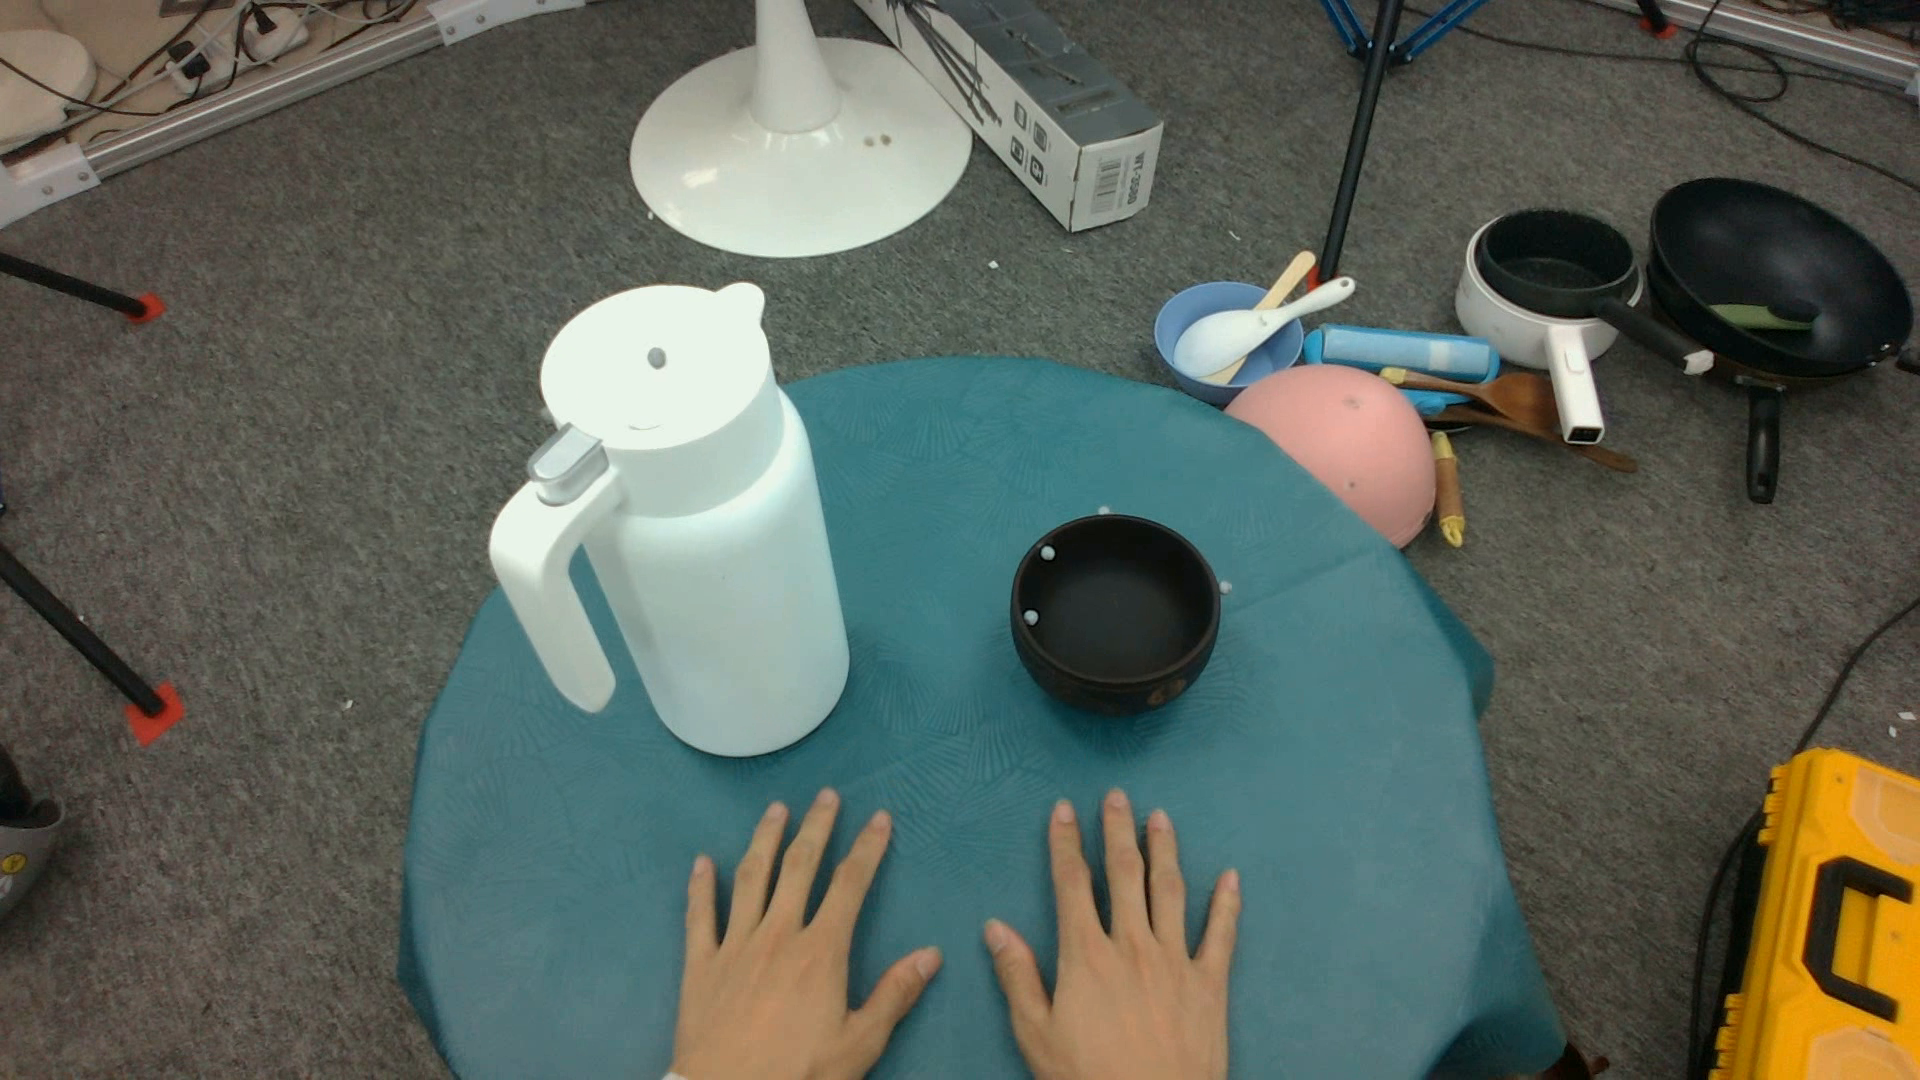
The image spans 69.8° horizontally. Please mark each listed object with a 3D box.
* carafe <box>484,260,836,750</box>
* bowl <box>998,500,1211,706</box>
[{"bbox_3d":[-0.141,0.009,0.693,0.124,0.267,0.173,25,58,17],"label":"carafe"},{"bbox_3d":[0.080,0.042,0.781,0.118,0.069,0.118,-1,54,1],"label":"bowl"}]
